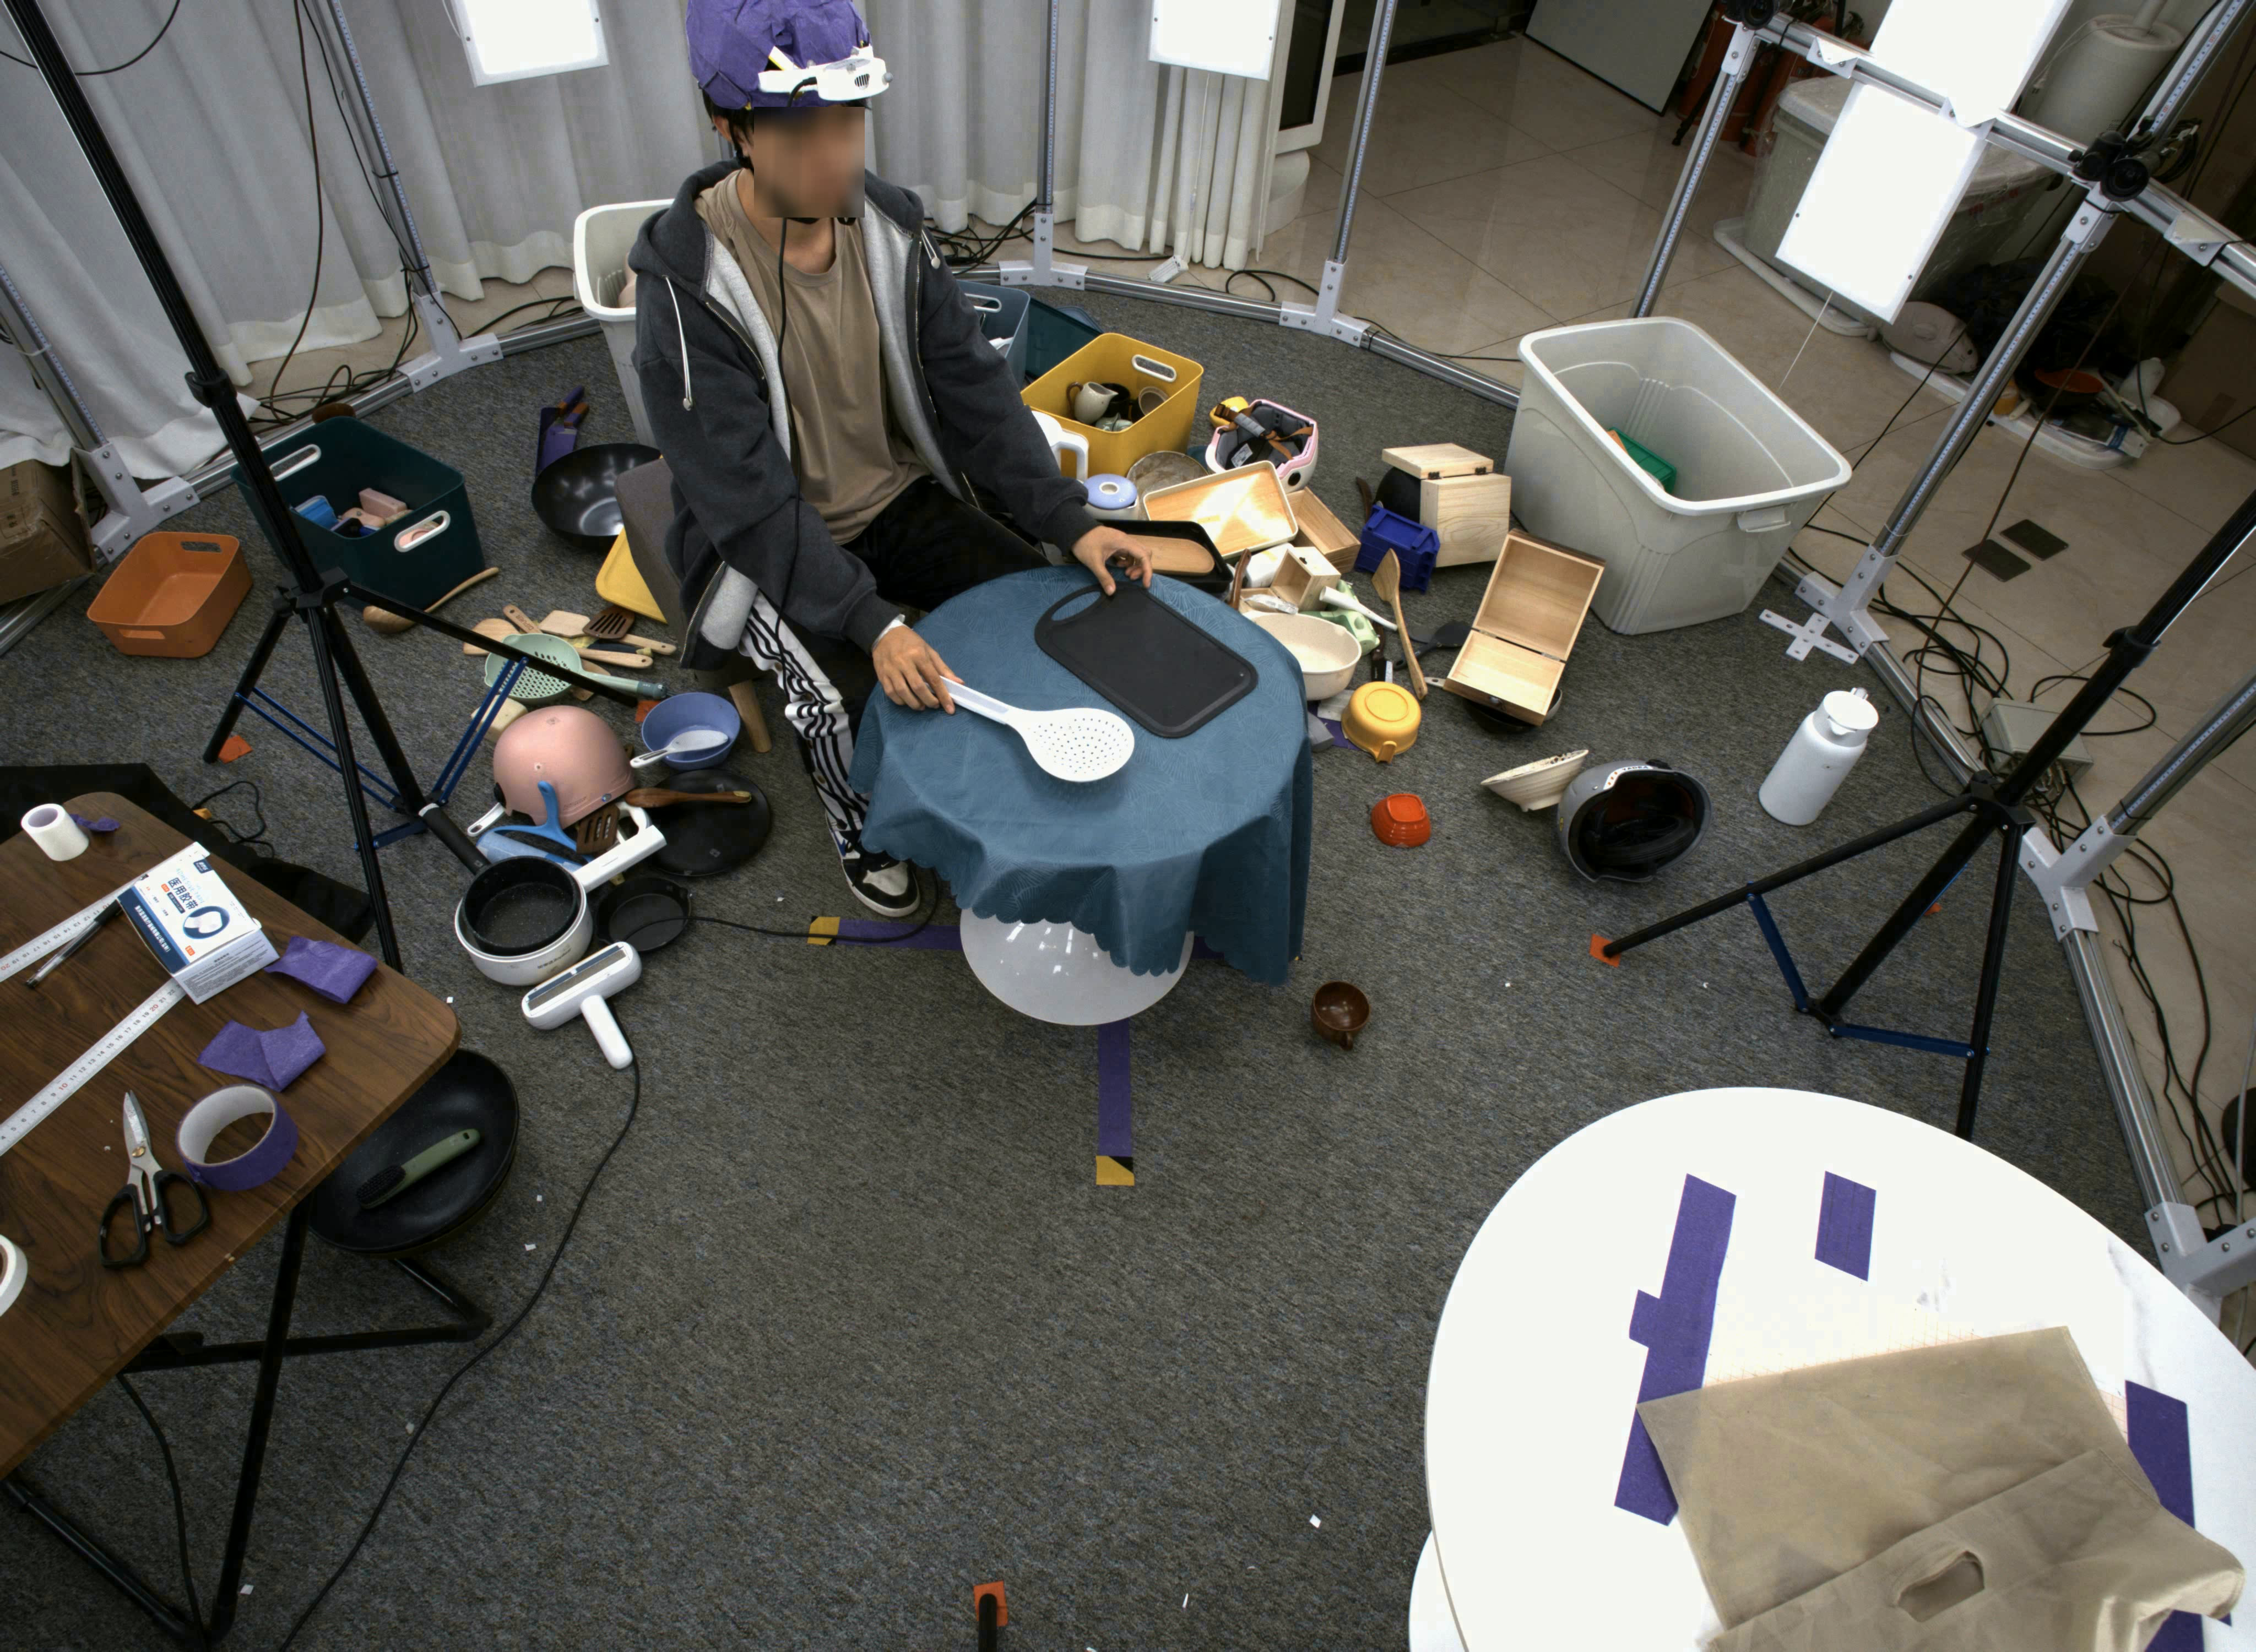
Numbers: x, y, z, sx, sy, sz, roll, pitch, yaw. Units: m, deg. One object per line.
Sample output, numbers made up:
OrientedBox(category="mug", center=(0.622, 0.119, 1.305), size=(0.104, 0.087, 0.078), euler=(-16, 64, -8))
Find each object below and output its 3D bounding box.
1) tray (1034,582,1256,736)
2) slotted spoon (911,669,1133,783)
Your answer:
OrientedBox(category="tray", center=(0.018, -0.256, 1.886), size=(0.213, 0.009, 0.330), euler=(-35, 59, -29))
OrientedBox(category="slotted spoon", center=(-0.152, -0.145, 1.752), size=(0.353, 0.044, 0.138), euler=(27, 53, 19))
